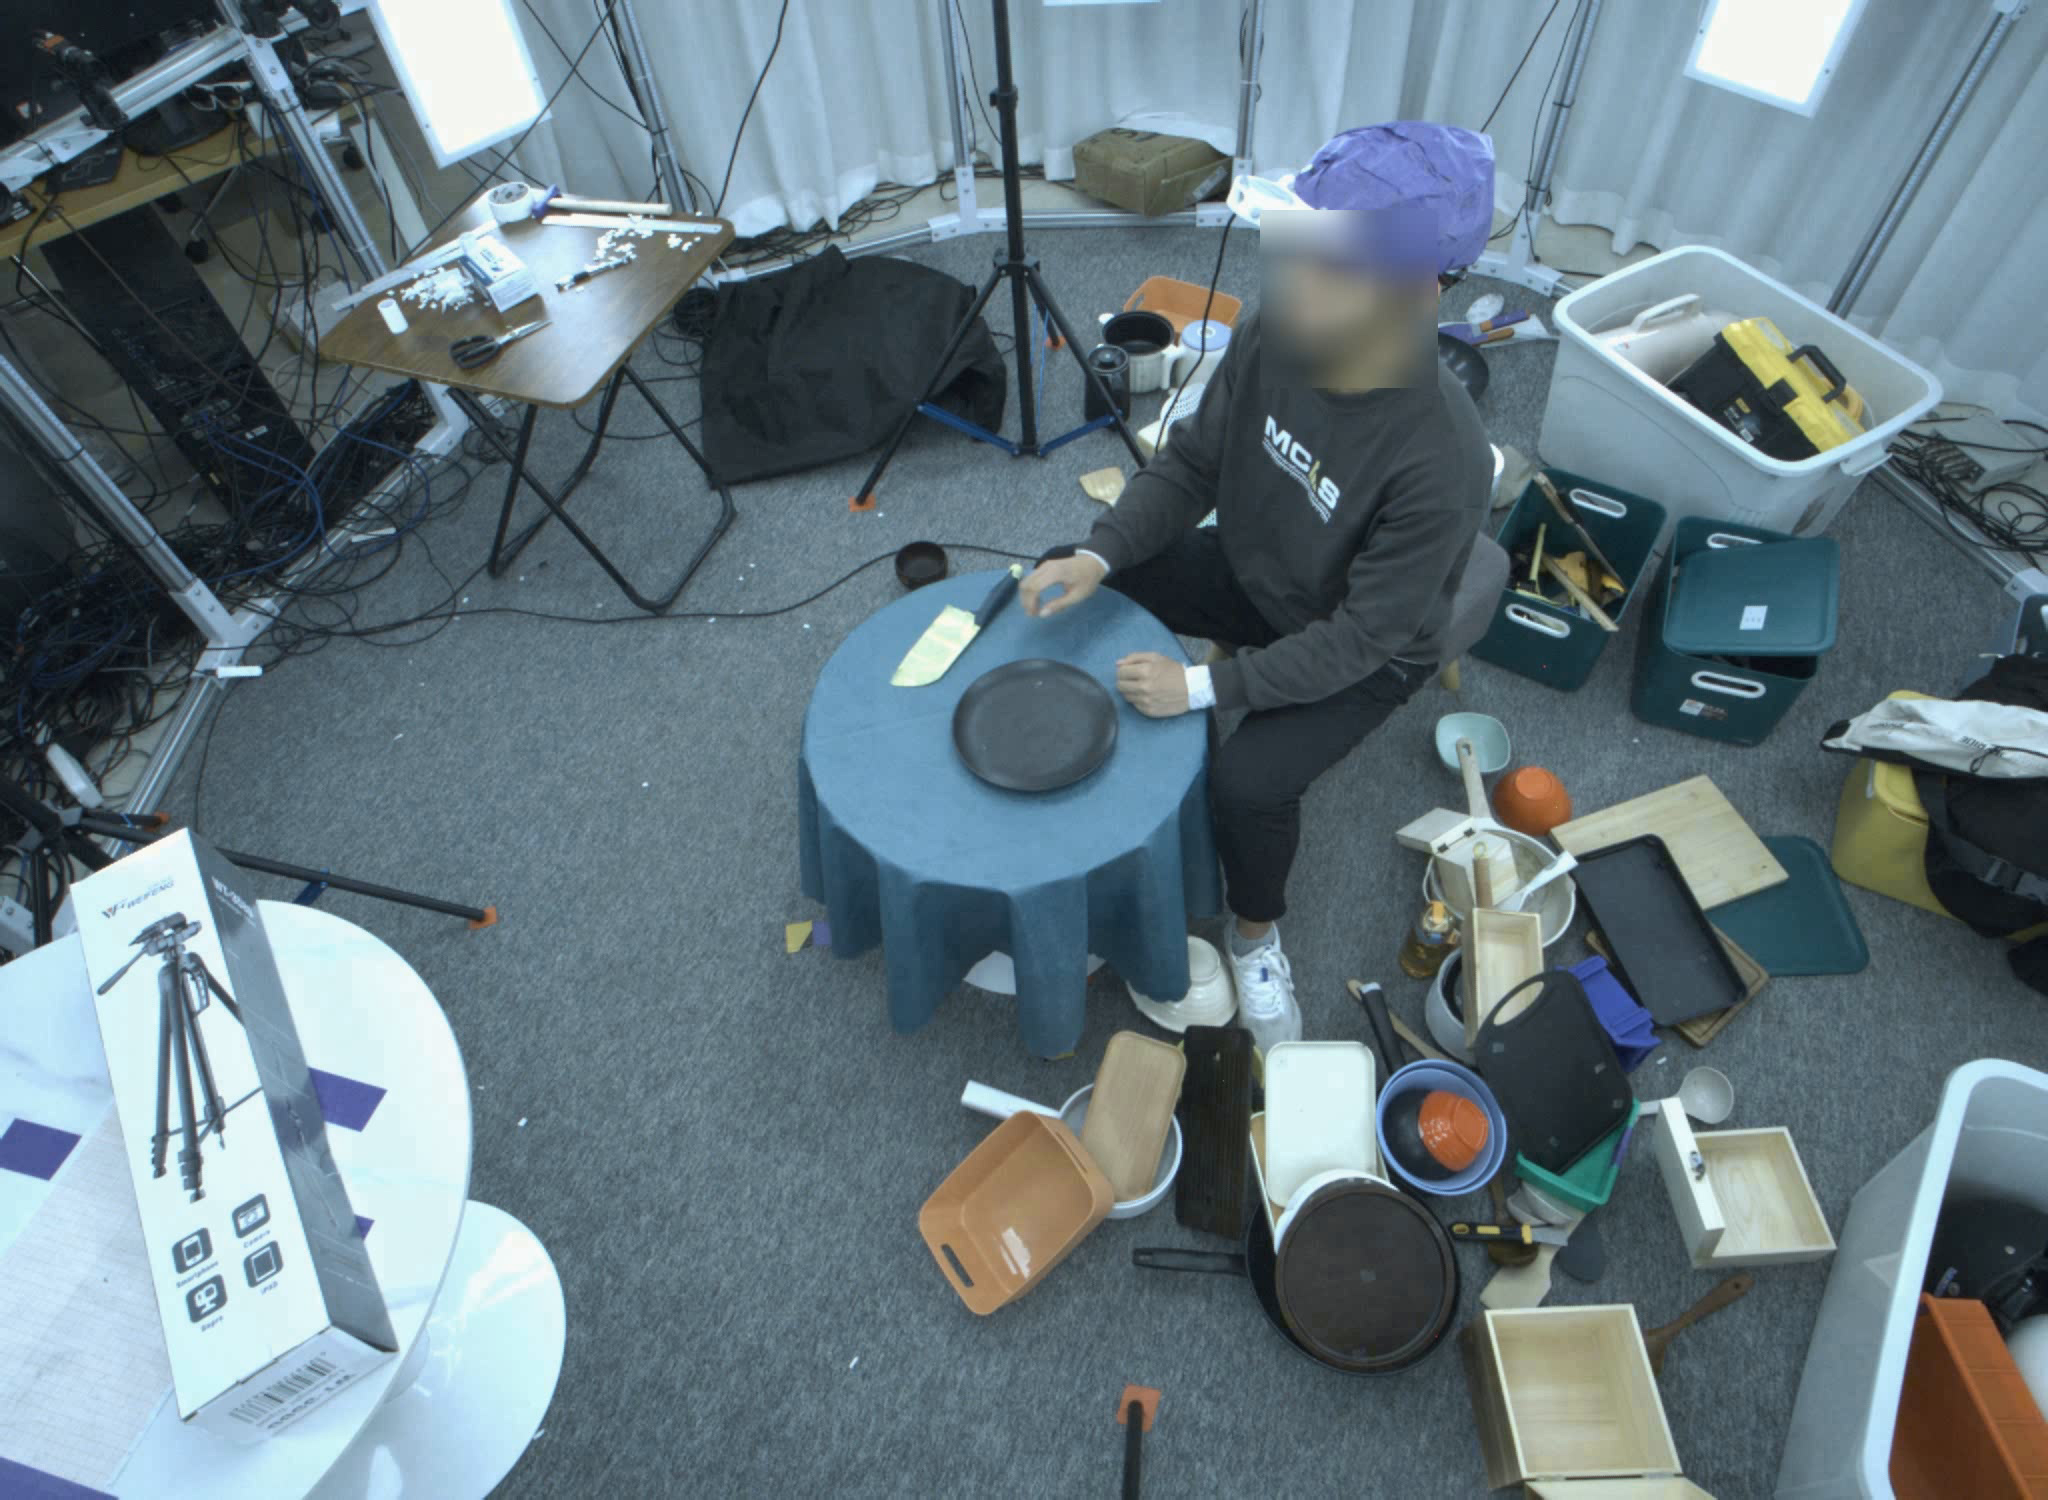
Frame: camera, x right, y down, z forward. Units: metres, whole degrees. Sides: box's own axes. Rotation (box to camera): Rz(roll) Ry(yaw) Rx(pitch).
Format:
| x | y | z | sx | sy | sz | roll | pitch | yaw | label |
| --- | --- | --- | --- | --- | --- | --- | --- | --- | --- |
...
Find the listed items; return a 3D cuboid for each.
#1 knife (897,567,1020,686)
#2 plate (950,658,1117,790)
| x | y | z | sx | sy | sz | roll | pitch | yaw | label |
| --- | --- | --- | --- | --- | --- | --- | --- | --- | --- |
| -0.103 | -0.197 | 1.930 | 0.080 | 0.027 | 0.291 | 30 | 61 | 19 | knife |
| 0.014 | -0.036 | 1.806 | 0.244 | 0.023 | 0.242 | 0 | 55 | 1 | plate |
